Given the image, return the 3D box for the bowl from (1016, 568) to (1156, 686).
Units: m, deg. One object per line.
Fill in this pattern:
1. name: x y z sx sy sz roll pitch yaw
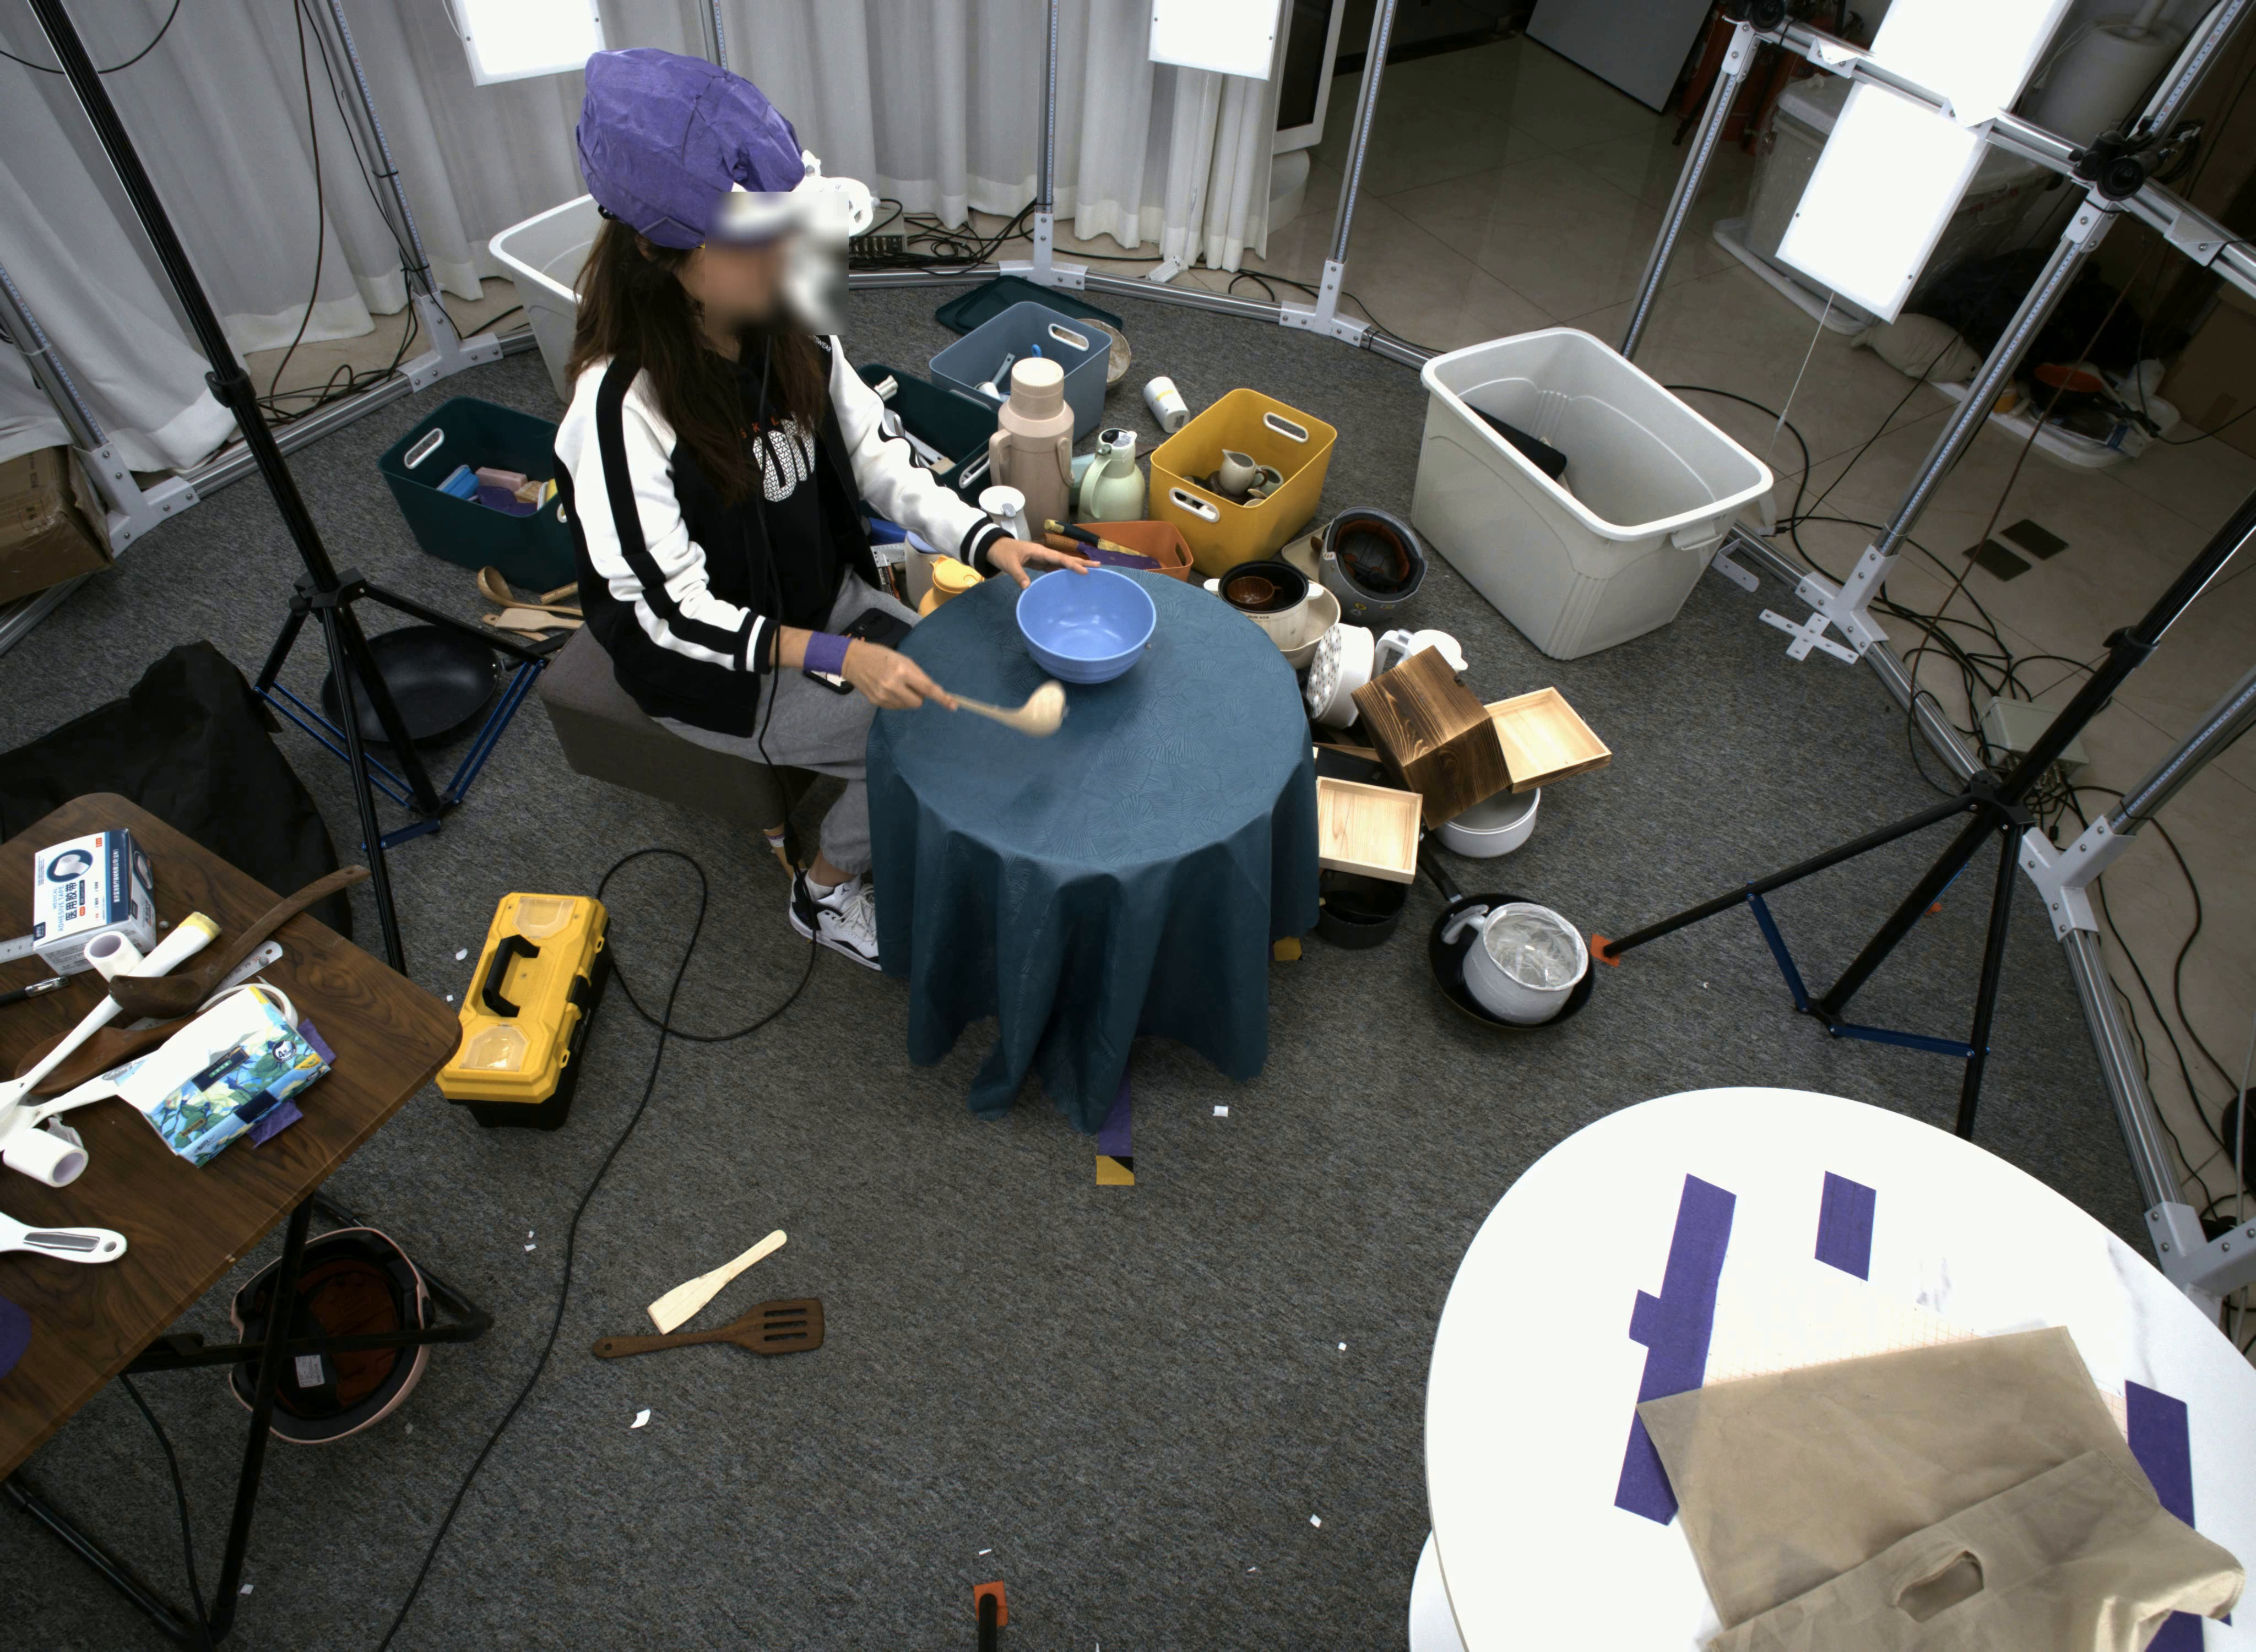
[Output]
1. bowl: -0.061 -0.270 1.843 0.196 0.093 0.201 1 50 -2

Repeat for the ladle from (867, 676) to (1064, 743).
1. ladle: -0.207 -0.176 1.683 0.255 0.070 0.074 19 53 5
